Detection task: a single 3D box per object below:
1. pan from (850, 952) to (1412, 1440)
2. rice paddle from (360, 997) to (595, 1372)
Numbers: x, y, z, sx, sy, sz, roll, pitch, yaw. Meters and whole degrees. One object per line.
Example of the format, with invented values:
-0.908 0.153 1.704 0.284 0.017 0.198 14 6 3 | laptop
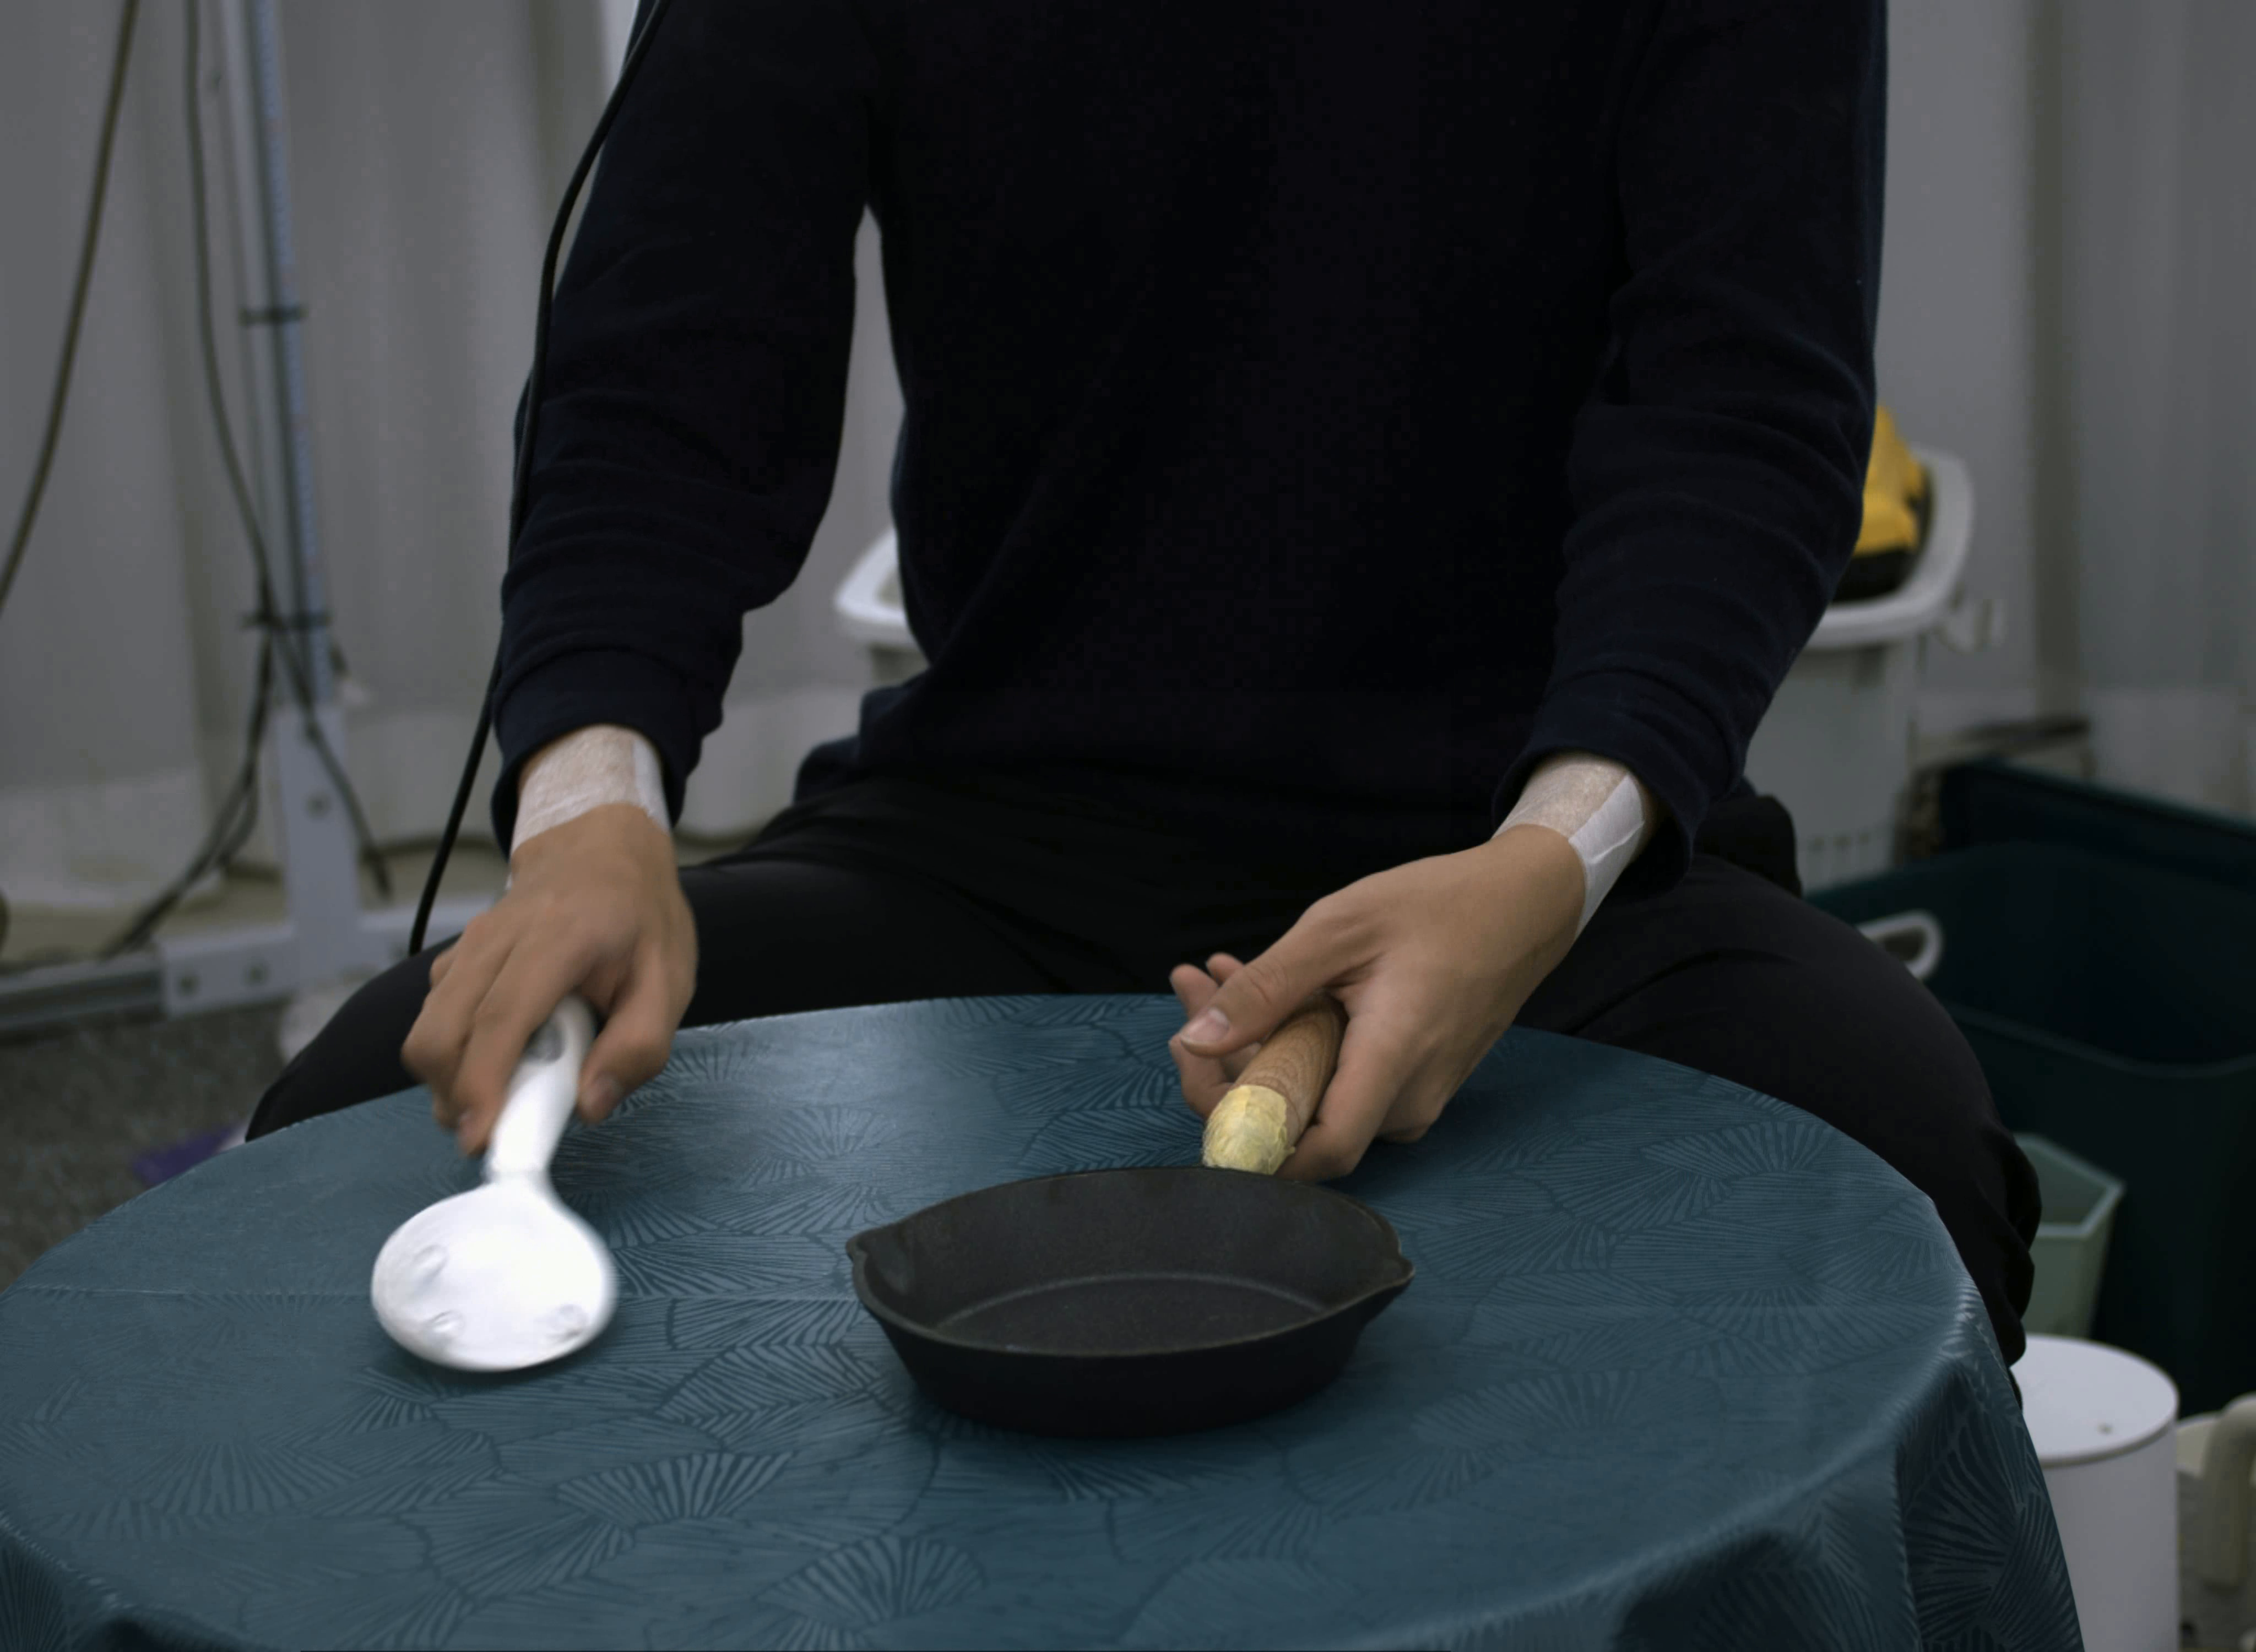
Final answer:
0.029 0.108 1.640 0.169 0.049 0.325 2 17 20 | pan
-0.190 0.111 1.665 0.068 0.029 0.207 4 25 0 | rice paddle
